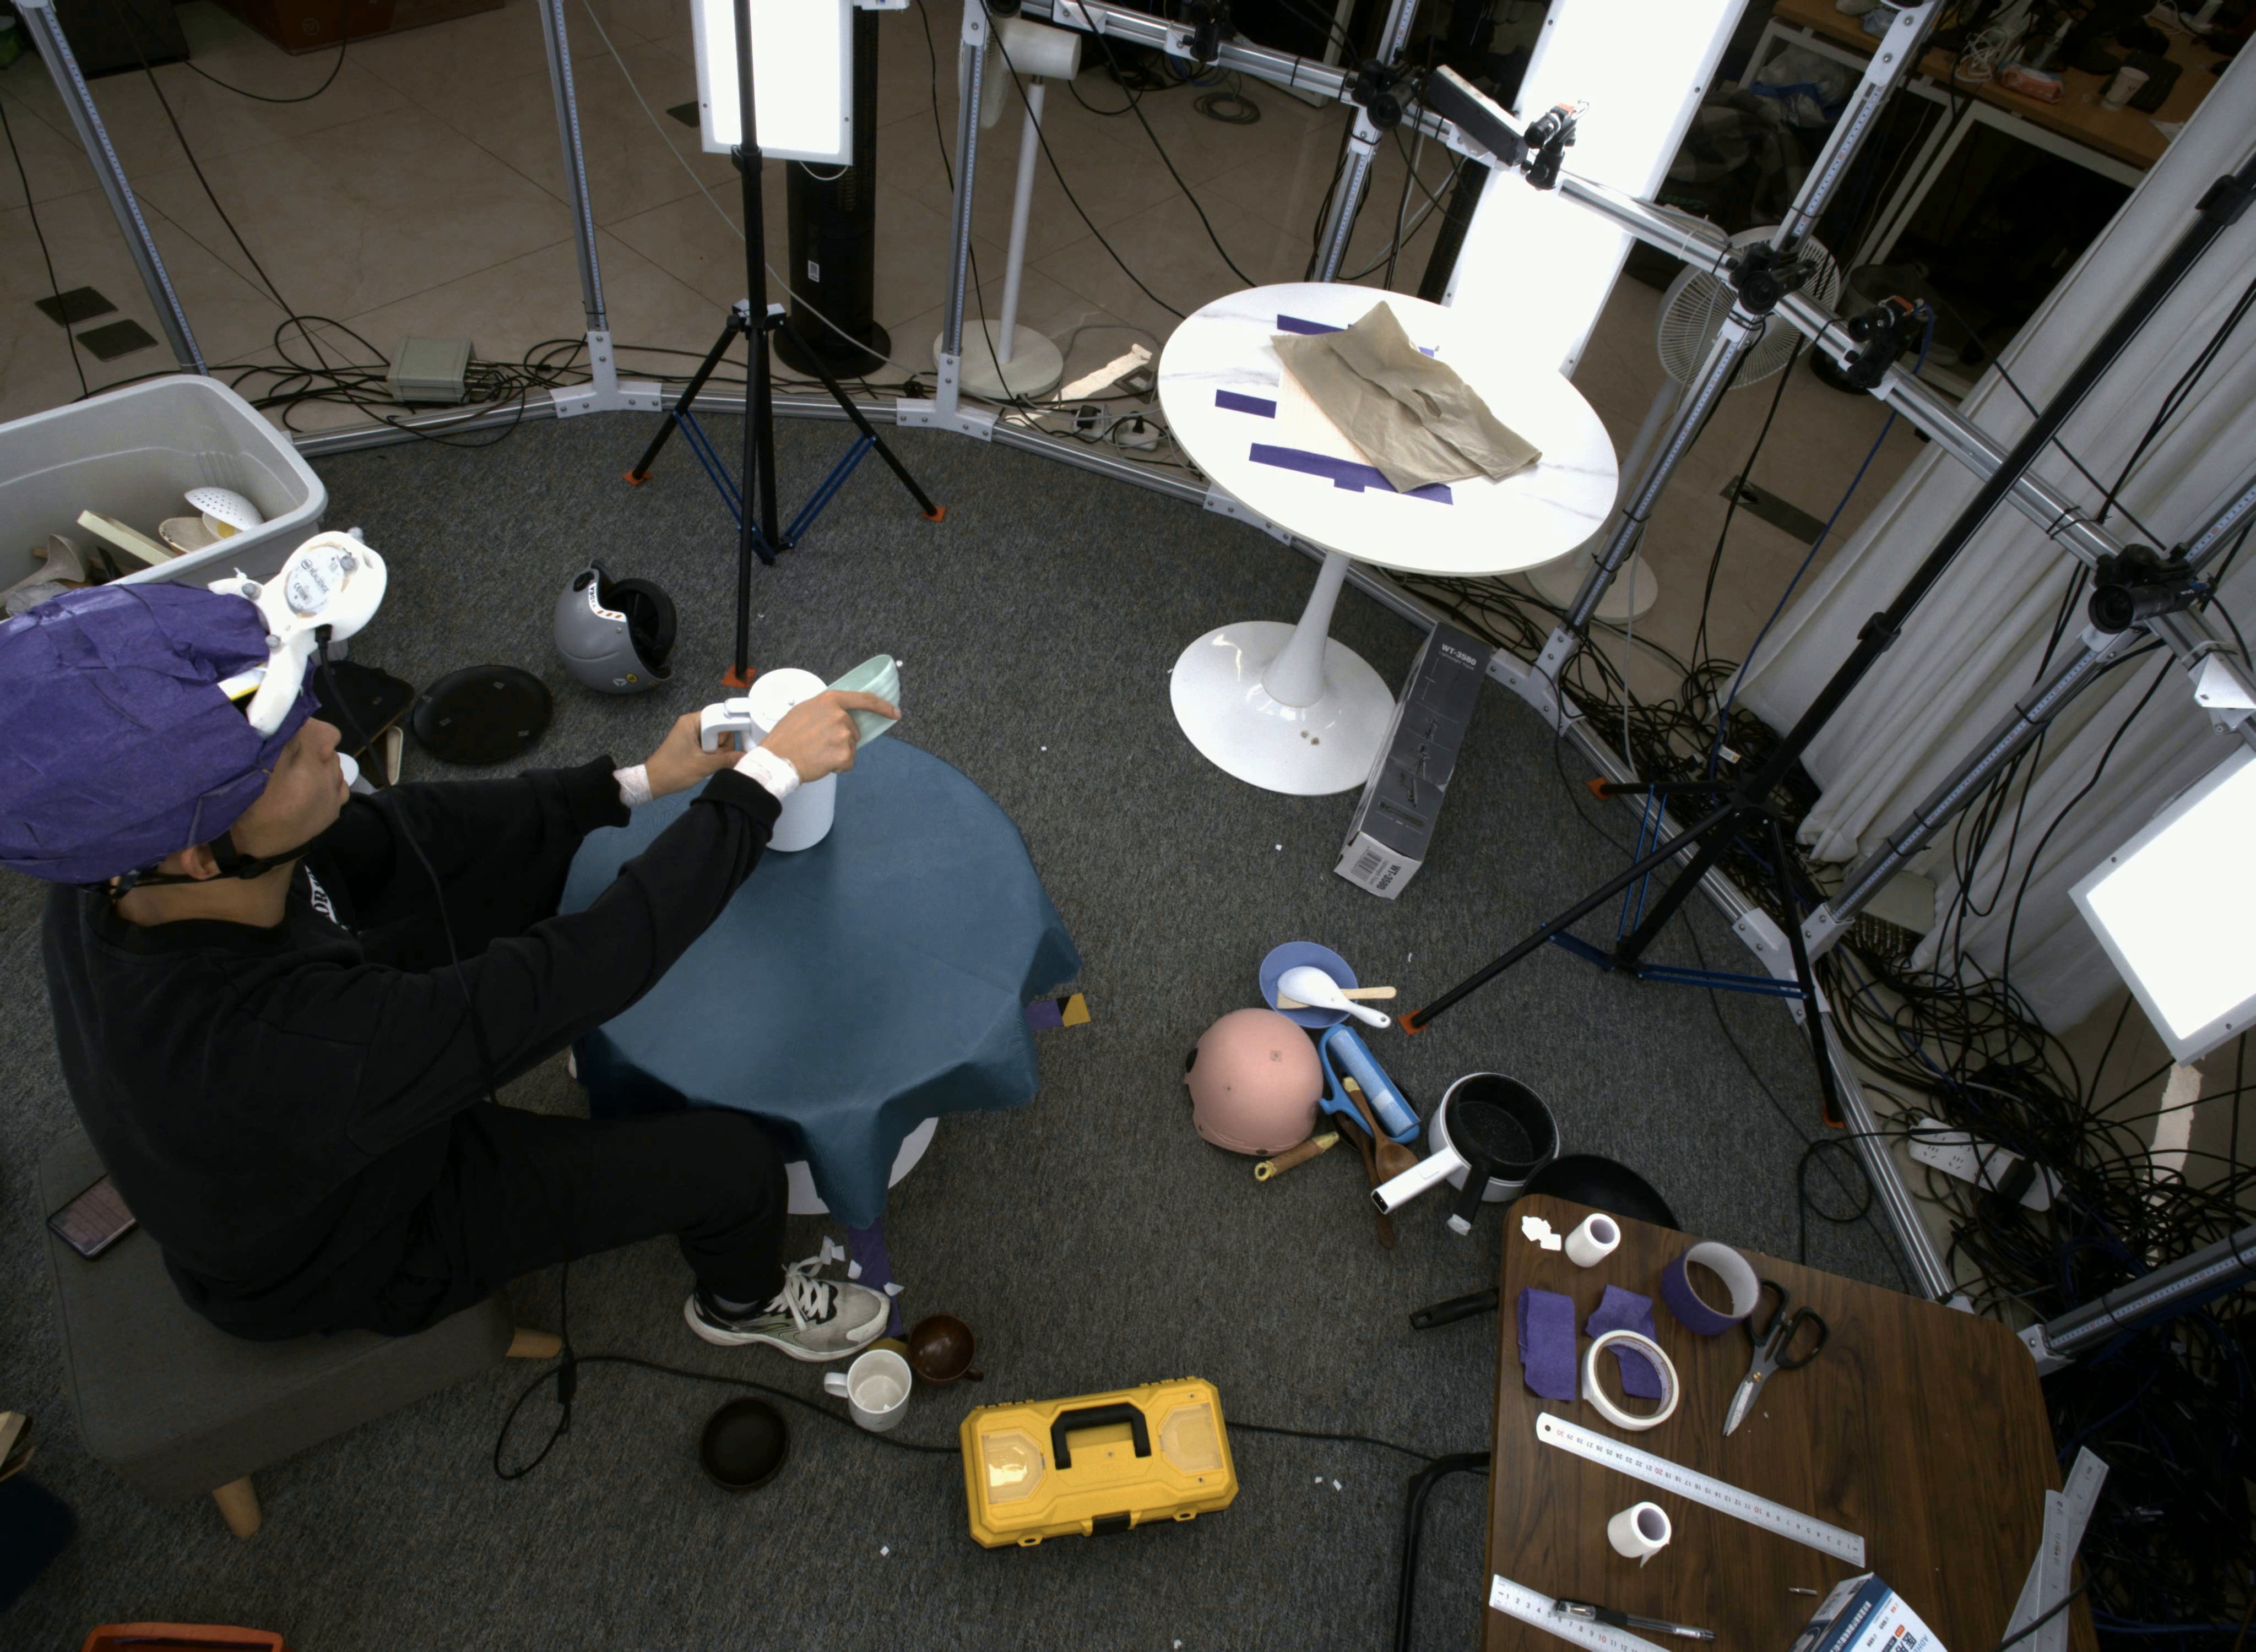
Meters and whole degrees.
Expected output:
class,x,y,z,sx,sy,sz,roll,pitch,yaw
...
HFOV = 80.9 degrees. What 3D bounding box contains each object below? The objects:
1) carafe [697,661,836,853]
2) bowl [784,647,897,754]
class,x,y,z,sx,sy,sz,roll,pitch,yaw
carafe,-0.439,-0.079,1.598,0.173,0.272,0.122,-6,64,-18
bowl,-0.307,-0.132,1.434,0.060,0.147,0.151,56,49,-22
